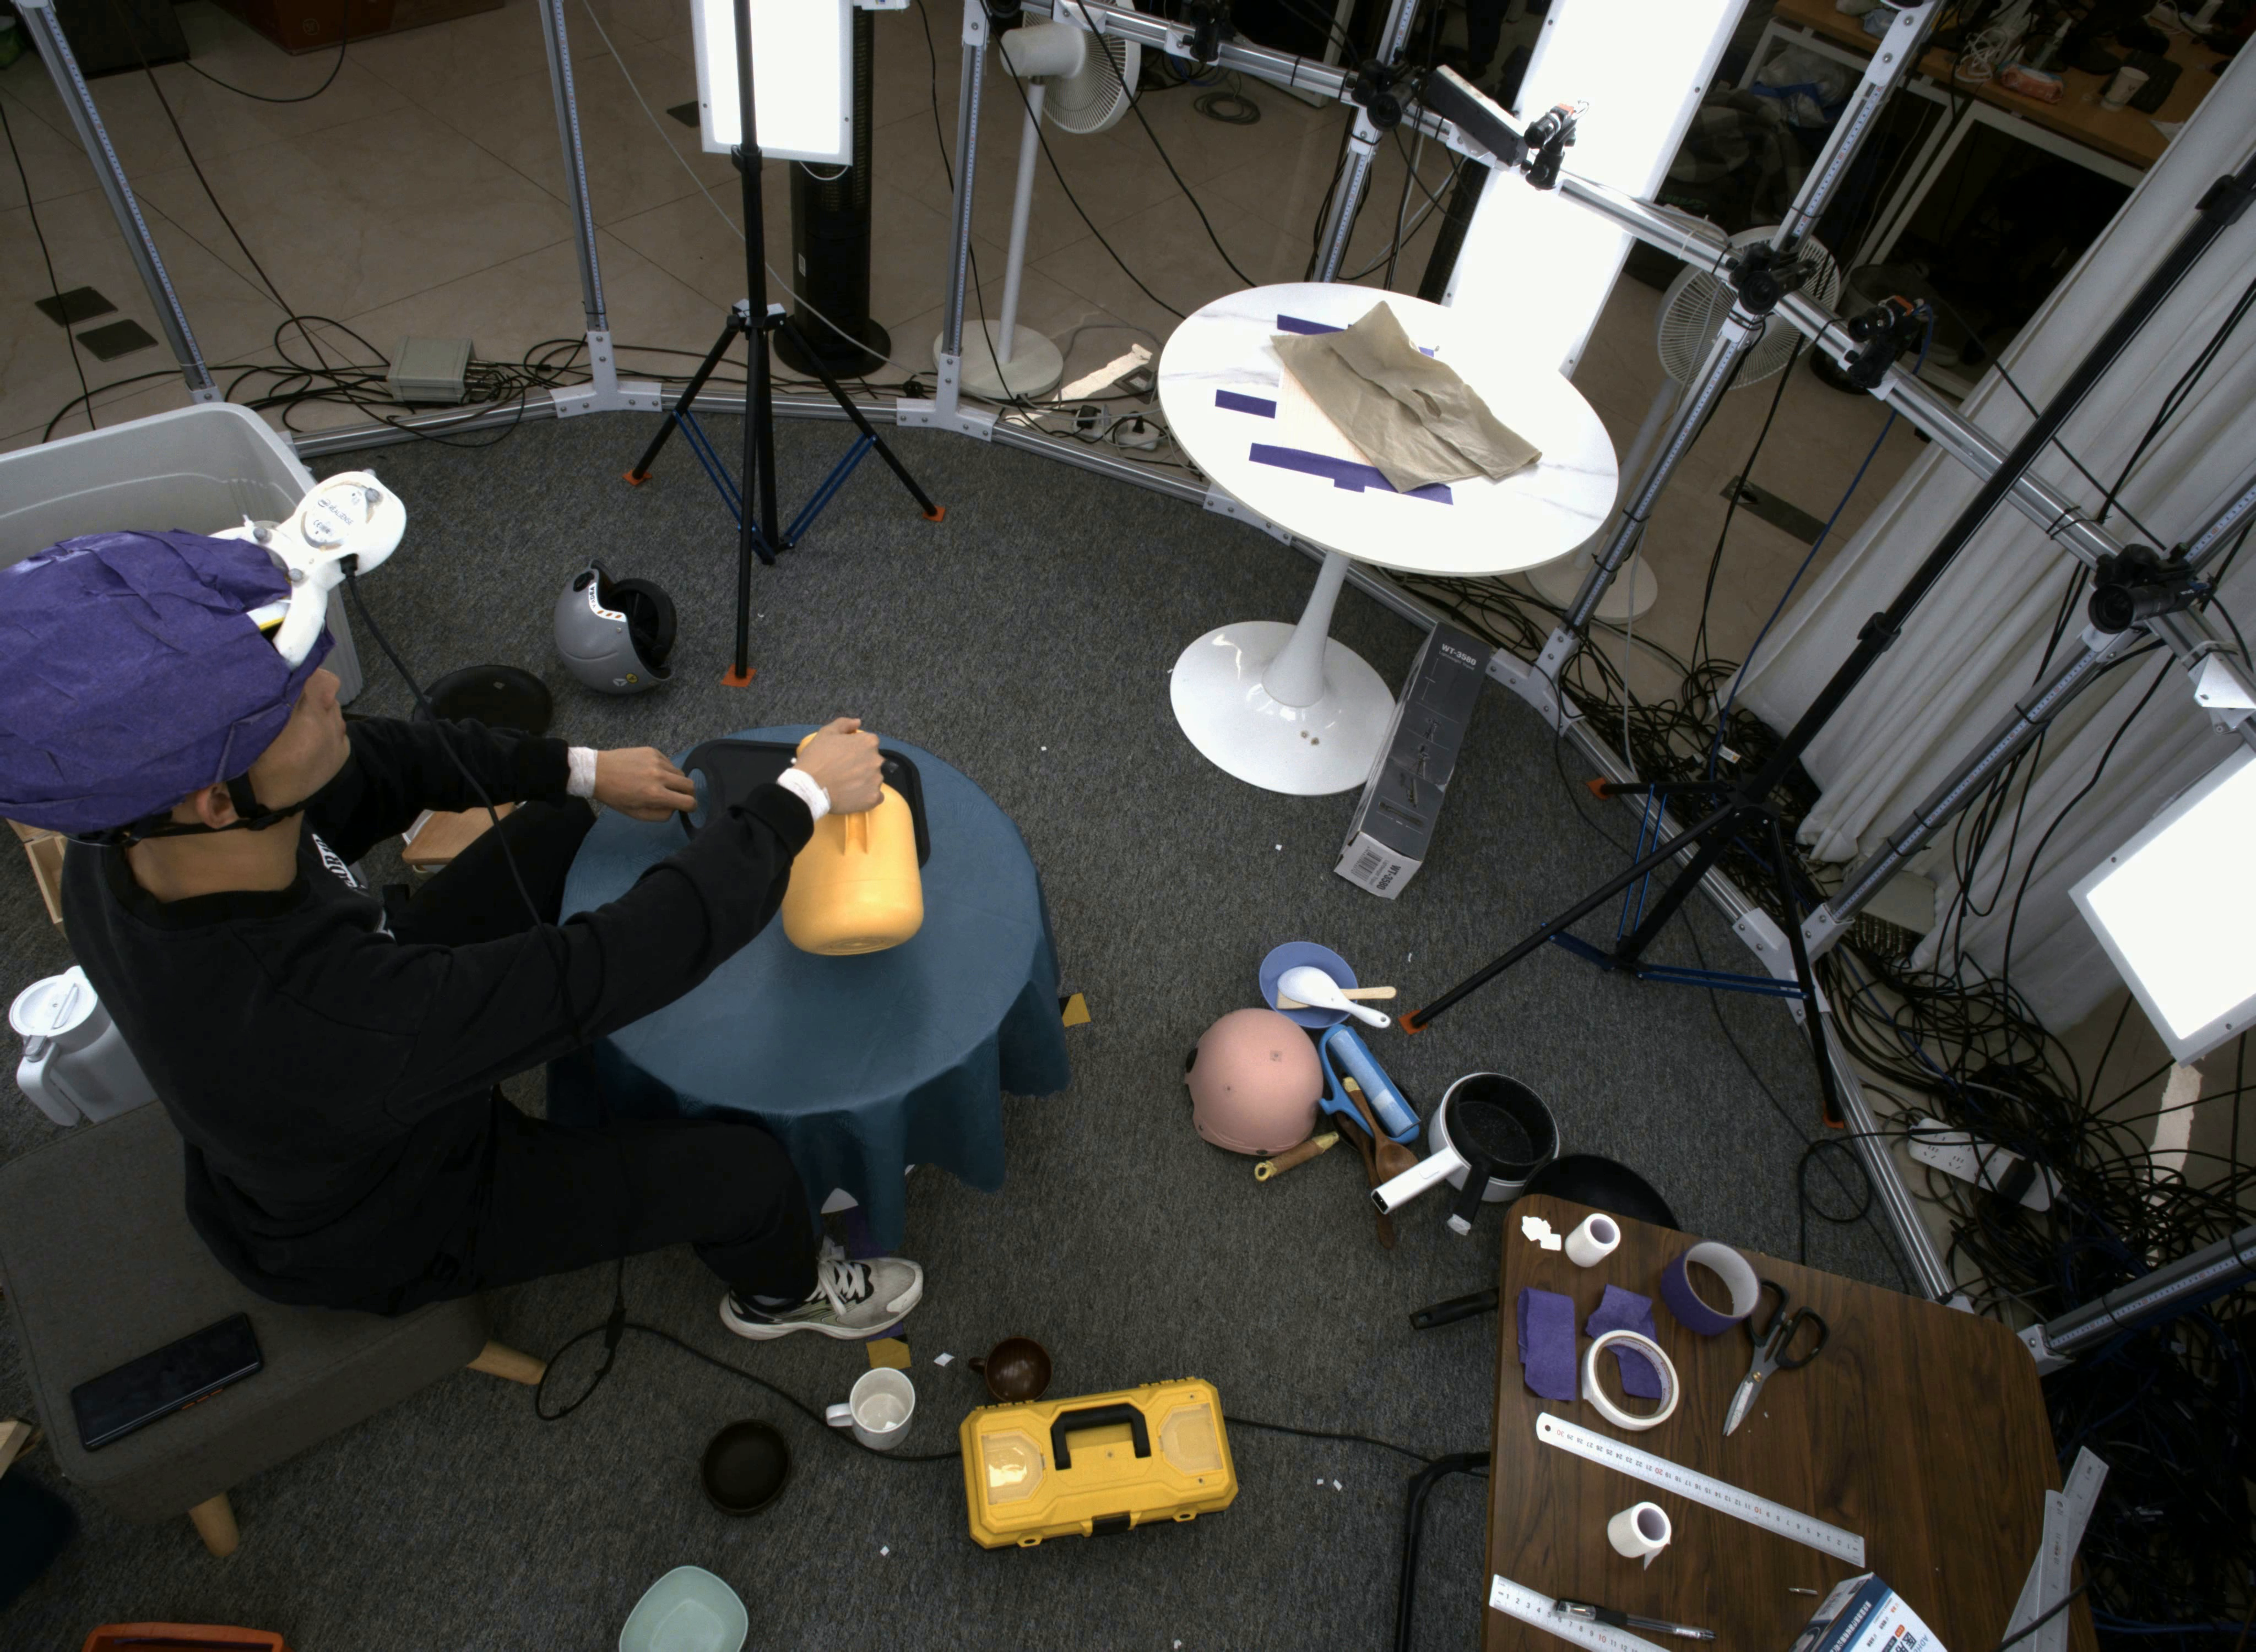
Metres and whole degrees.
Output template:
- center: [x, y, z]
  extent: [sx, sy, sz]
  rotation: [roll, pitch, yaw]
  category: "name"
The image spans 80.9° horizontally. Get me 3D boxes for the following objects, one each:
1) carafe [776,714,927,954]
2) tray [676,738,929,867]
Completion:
- center: [-0.330, 0.003, 1.516]
  extent: [0.164, 0.202, 0.260]
  rotation: [-9, 77, -17]
  category: "carafe"
- center: [-0.426, -0.031, 1.704]
  extent: [0.329, 0.010, 0.206]
  rotation: [3, 52, -25]
  category: "tray"
